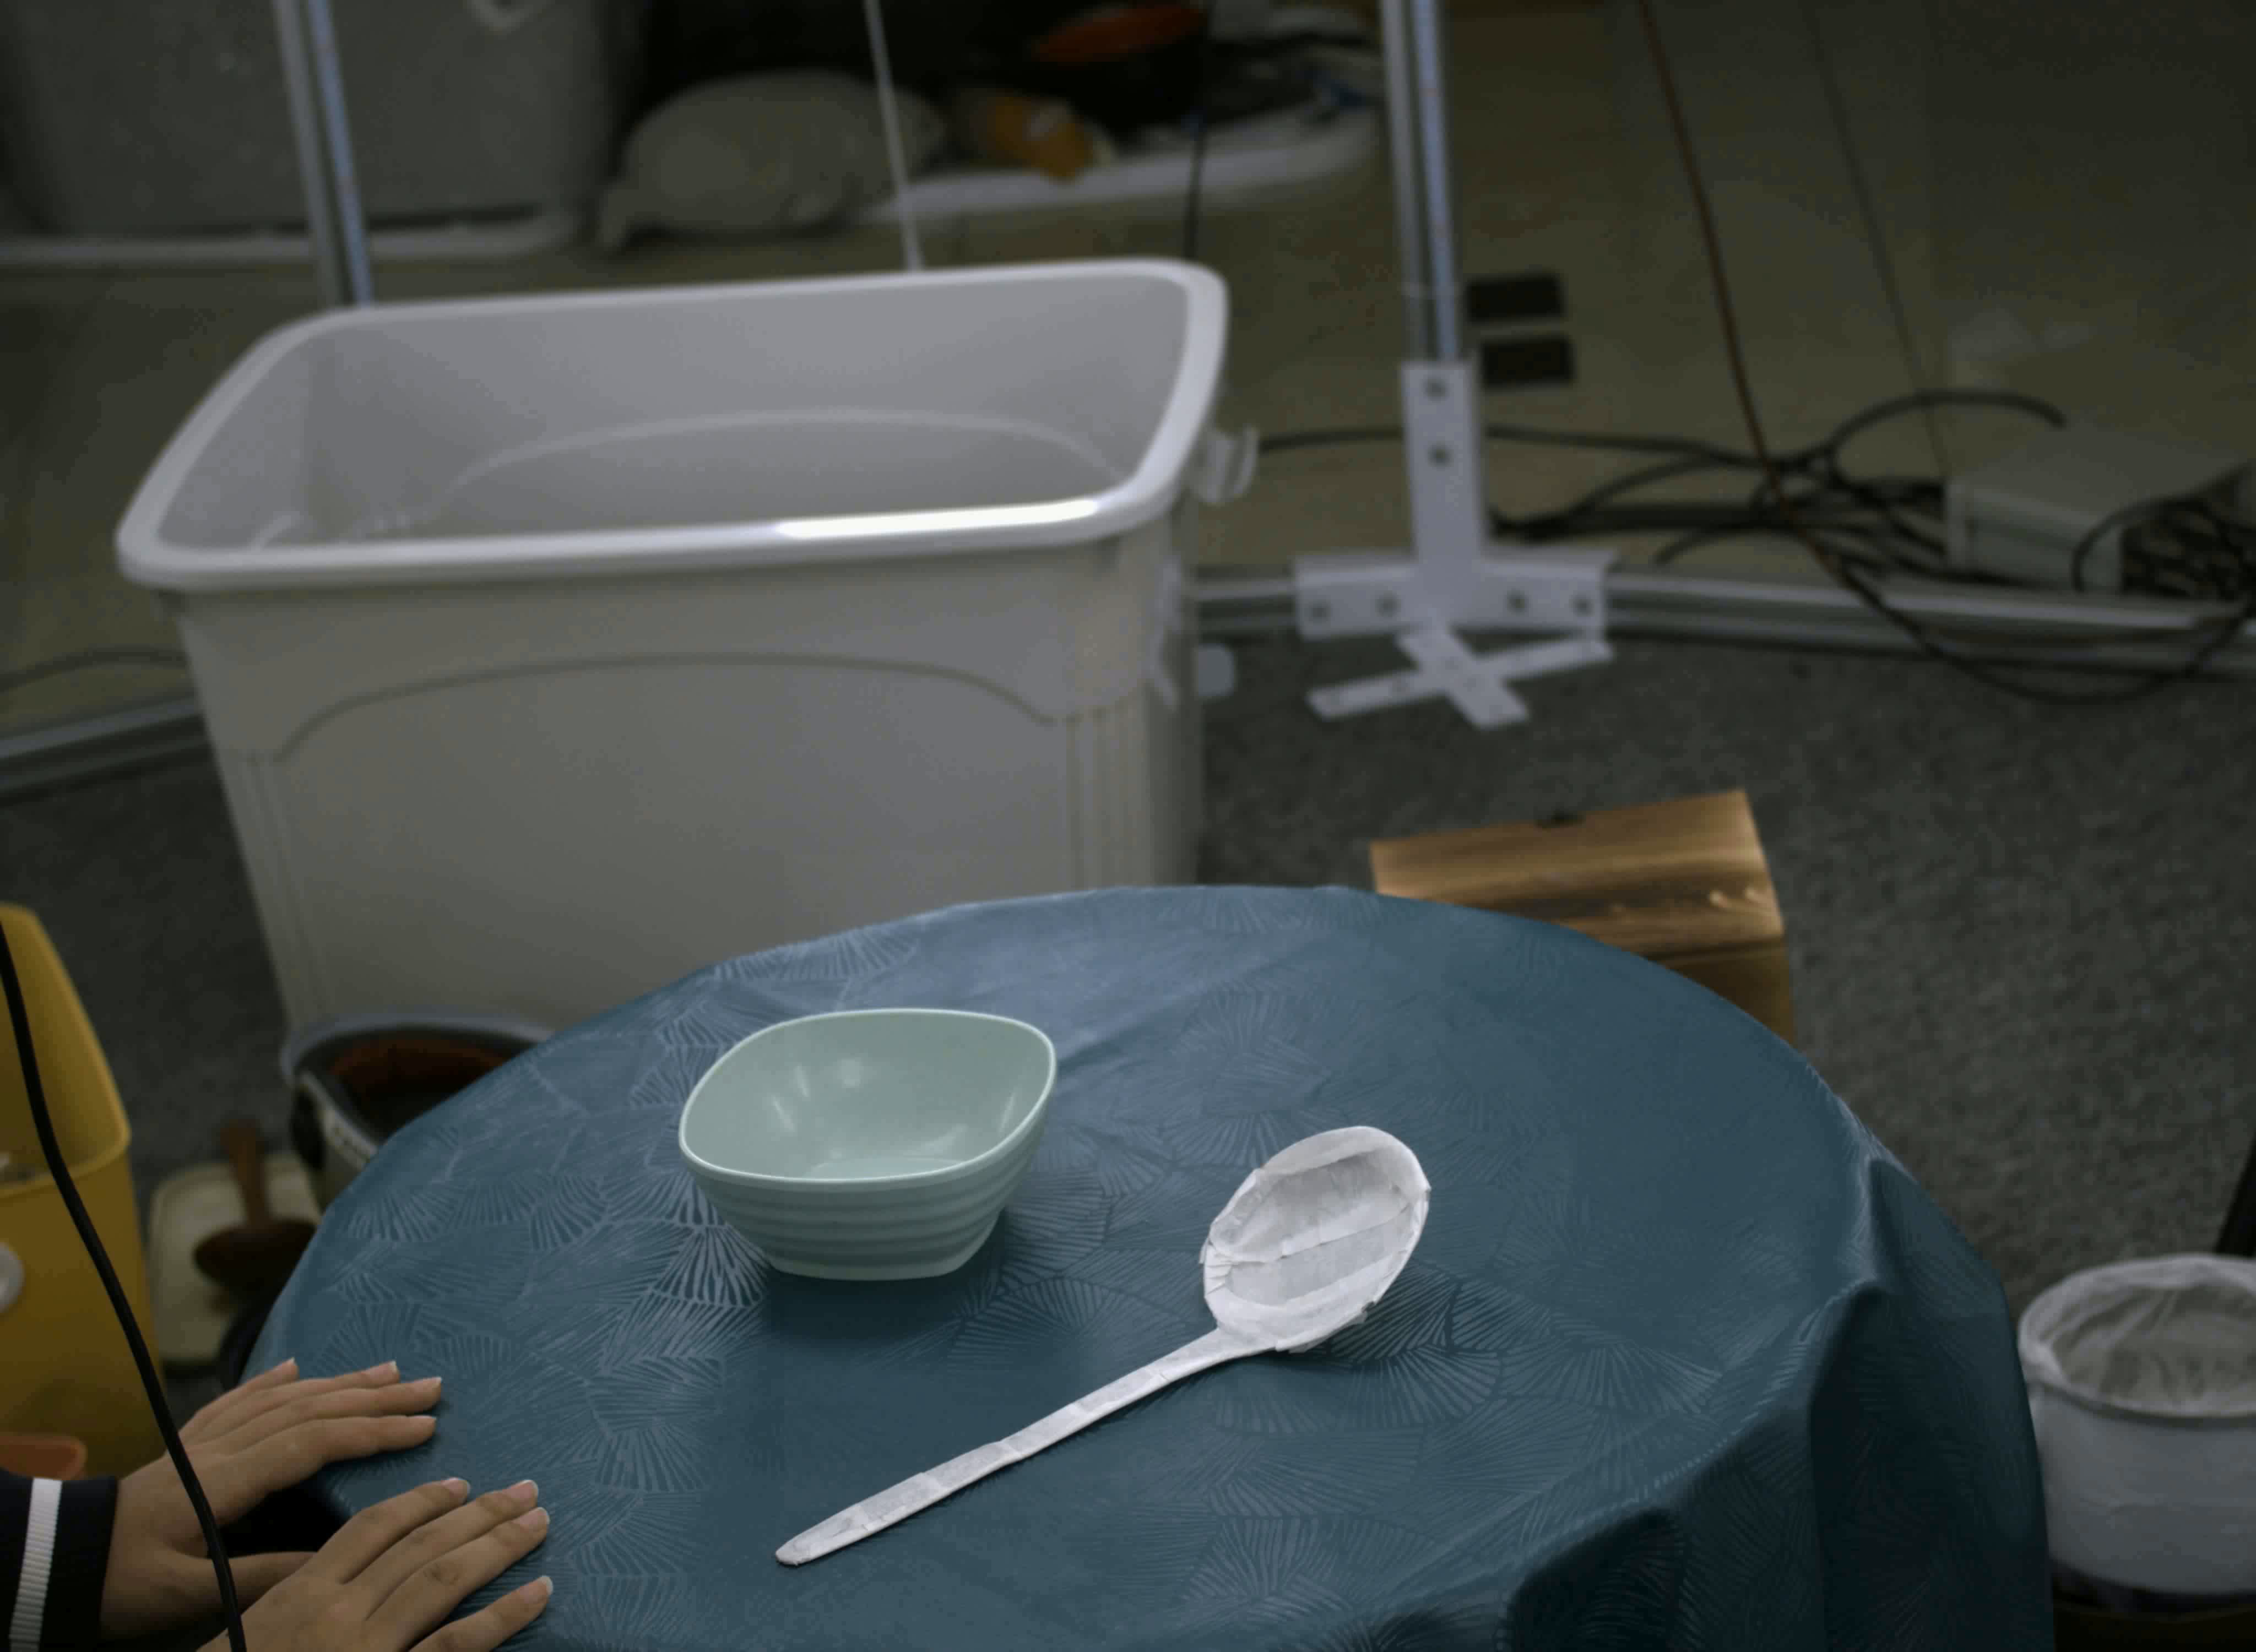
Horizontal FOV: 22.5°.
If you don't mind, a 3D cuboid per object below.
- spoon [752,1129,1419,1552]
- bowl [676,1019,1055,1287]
[{"bbox_3d":[-0.019,0.178,1.999,0.276,0.060,0.100,-20,24,-27],"label":"spoon"},{"bbox_3d":[-0.095,0.128,2.131,0.151,0.059,0.149,-5,24,2],"label":"bowl"}]
